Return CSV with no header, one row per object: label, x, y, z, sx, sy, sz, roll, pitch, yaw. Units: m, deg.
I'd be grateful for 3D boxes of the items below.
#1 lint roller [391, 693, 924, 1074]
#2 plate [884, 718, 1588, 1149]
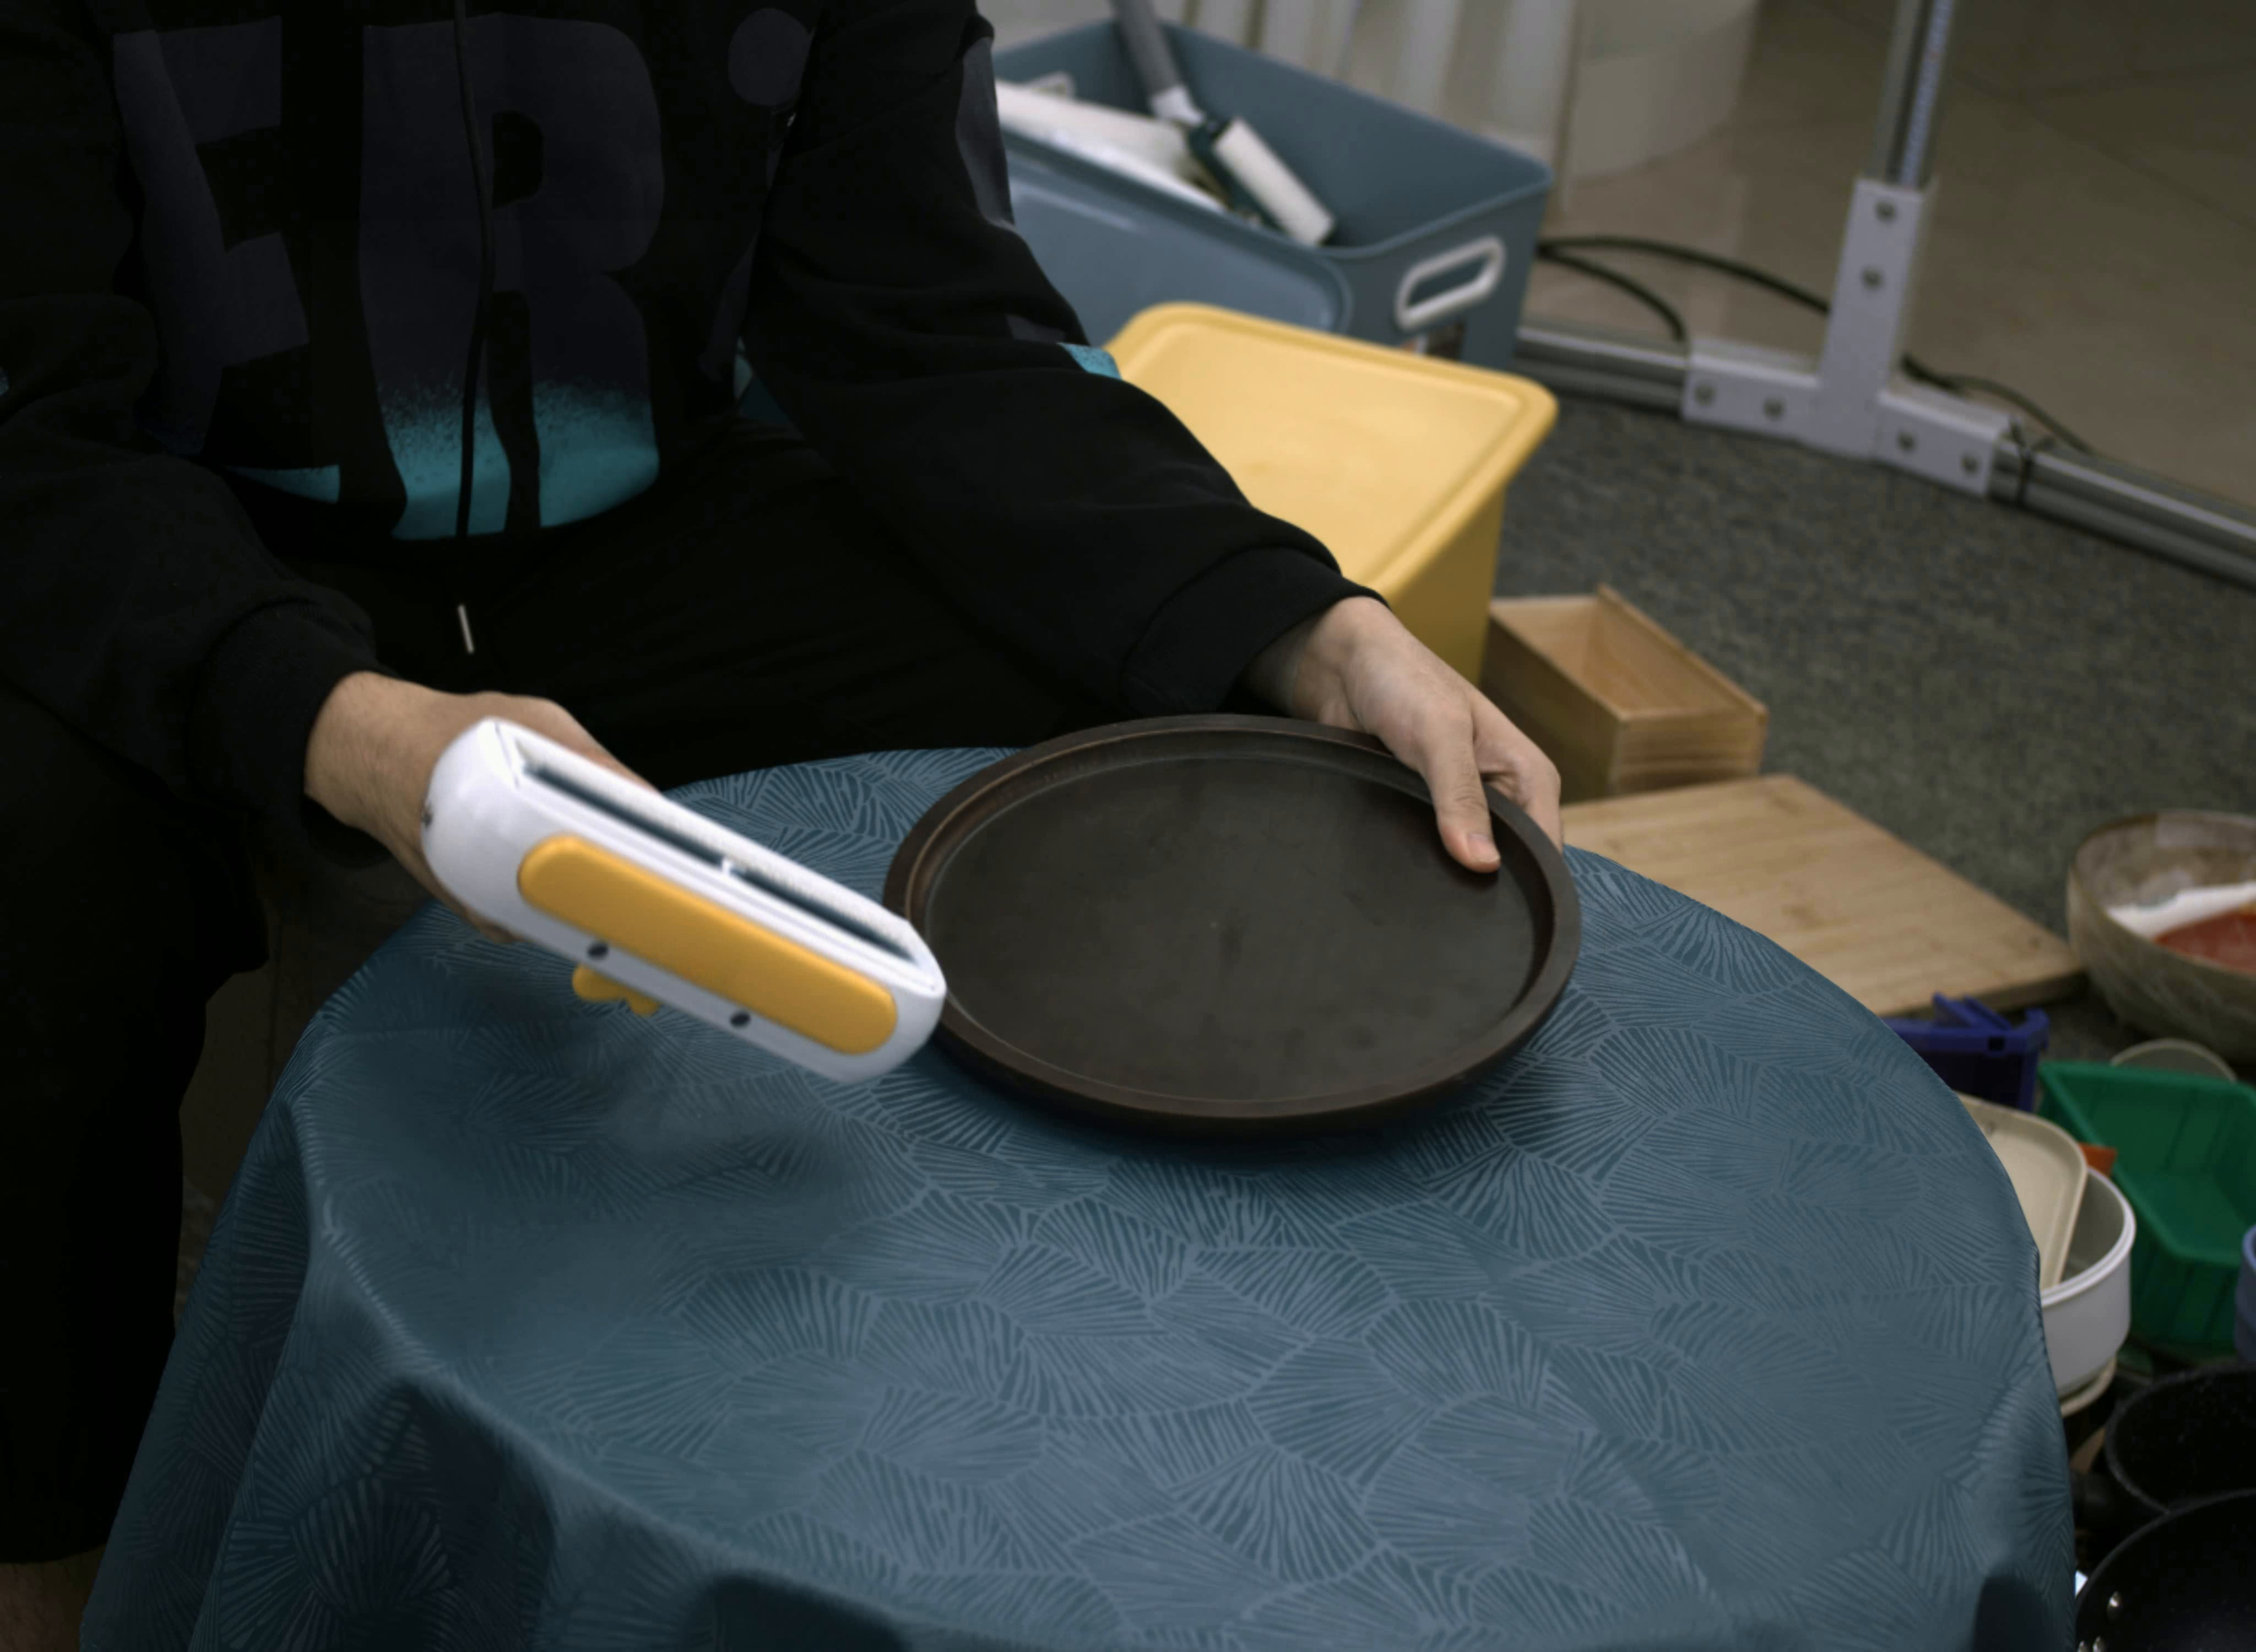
lint roller,-0.174,0.008,1.797,0.191,0.074,0.194,24,10,-24
plate,0.039,0.037,1.914,0.254,0.029,0.256,0,33,0
